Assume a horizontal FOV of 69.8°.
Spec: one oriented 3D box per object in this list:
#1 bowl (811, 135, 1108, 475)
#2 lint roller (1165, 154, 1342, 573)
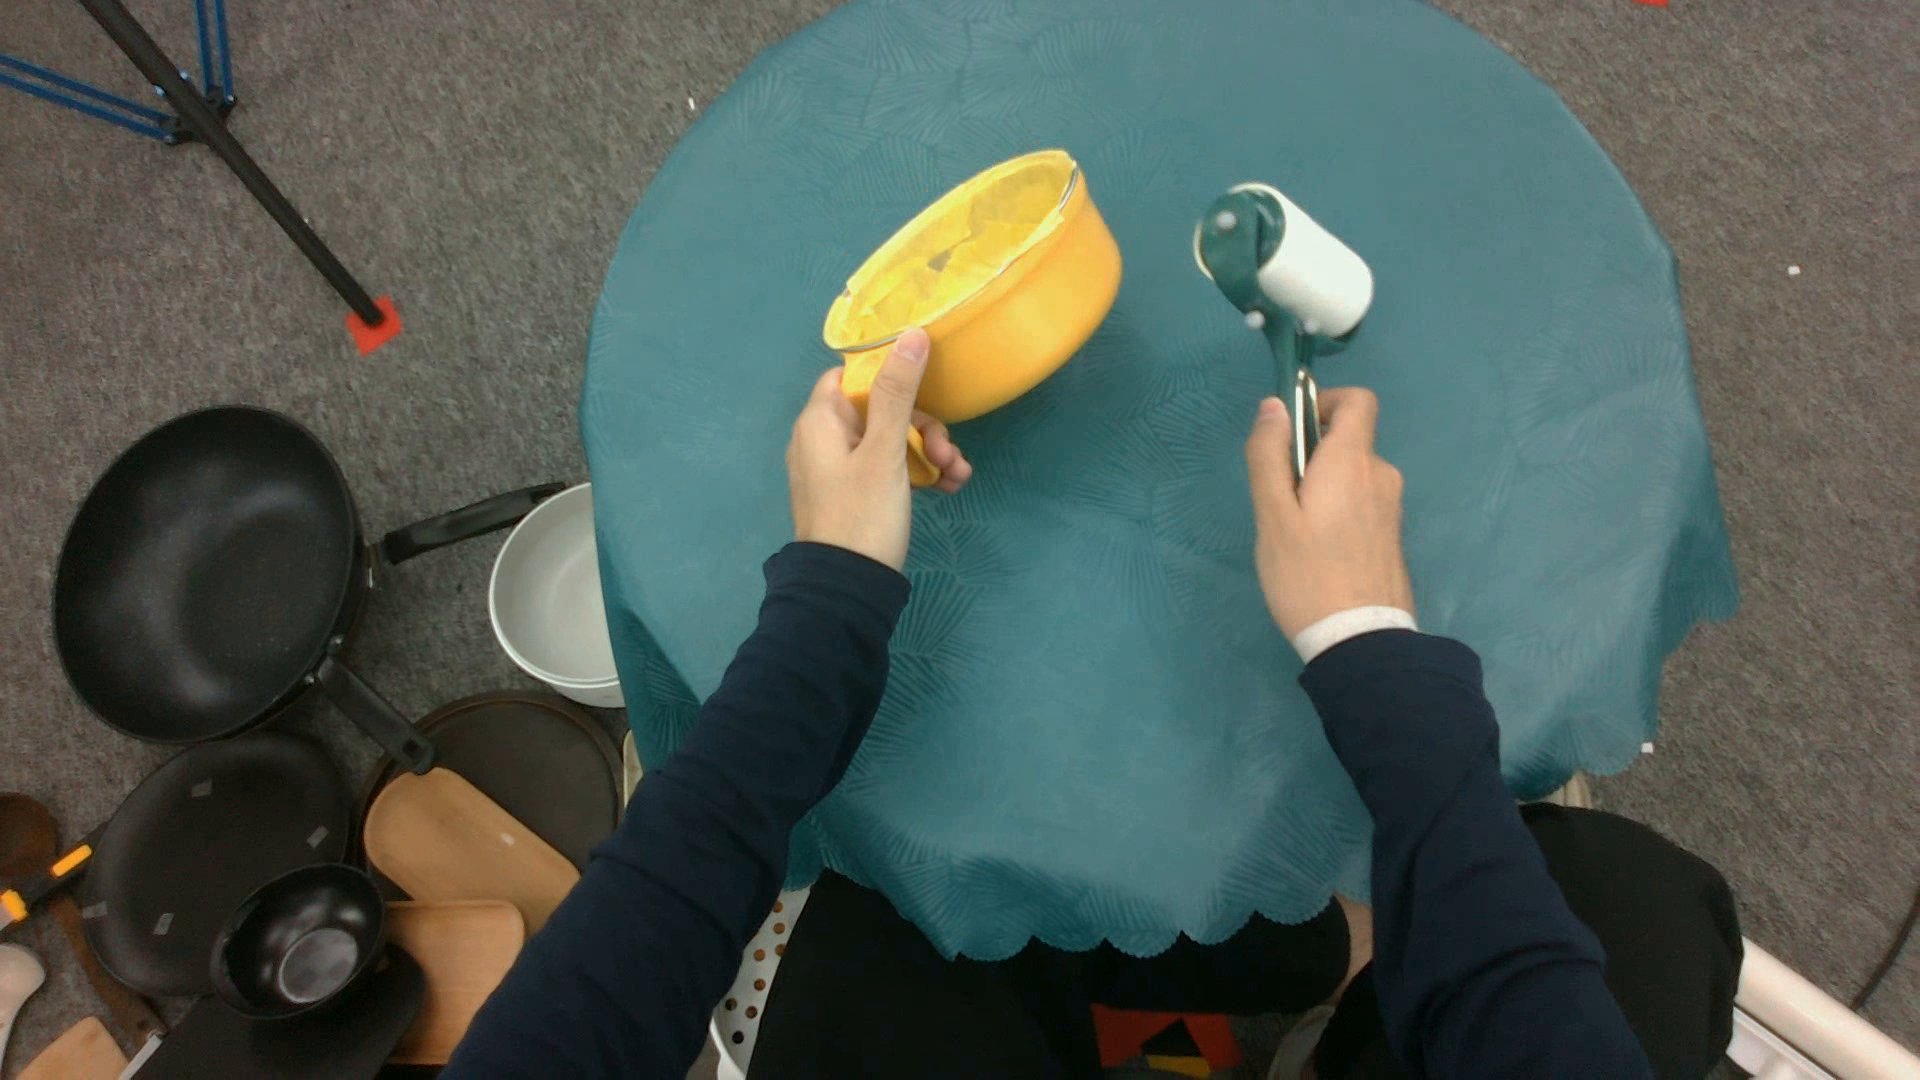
[{"bbox_3d":[-0.003,-0.119,0.689,0.152,0.074,0.180,-10,39,39],"label":"bowl"},{"bbox_3d":[0.150,-0.077,0.640,0.048,0.134,0.180,-18,72,33],"label":"lint roller"}]
